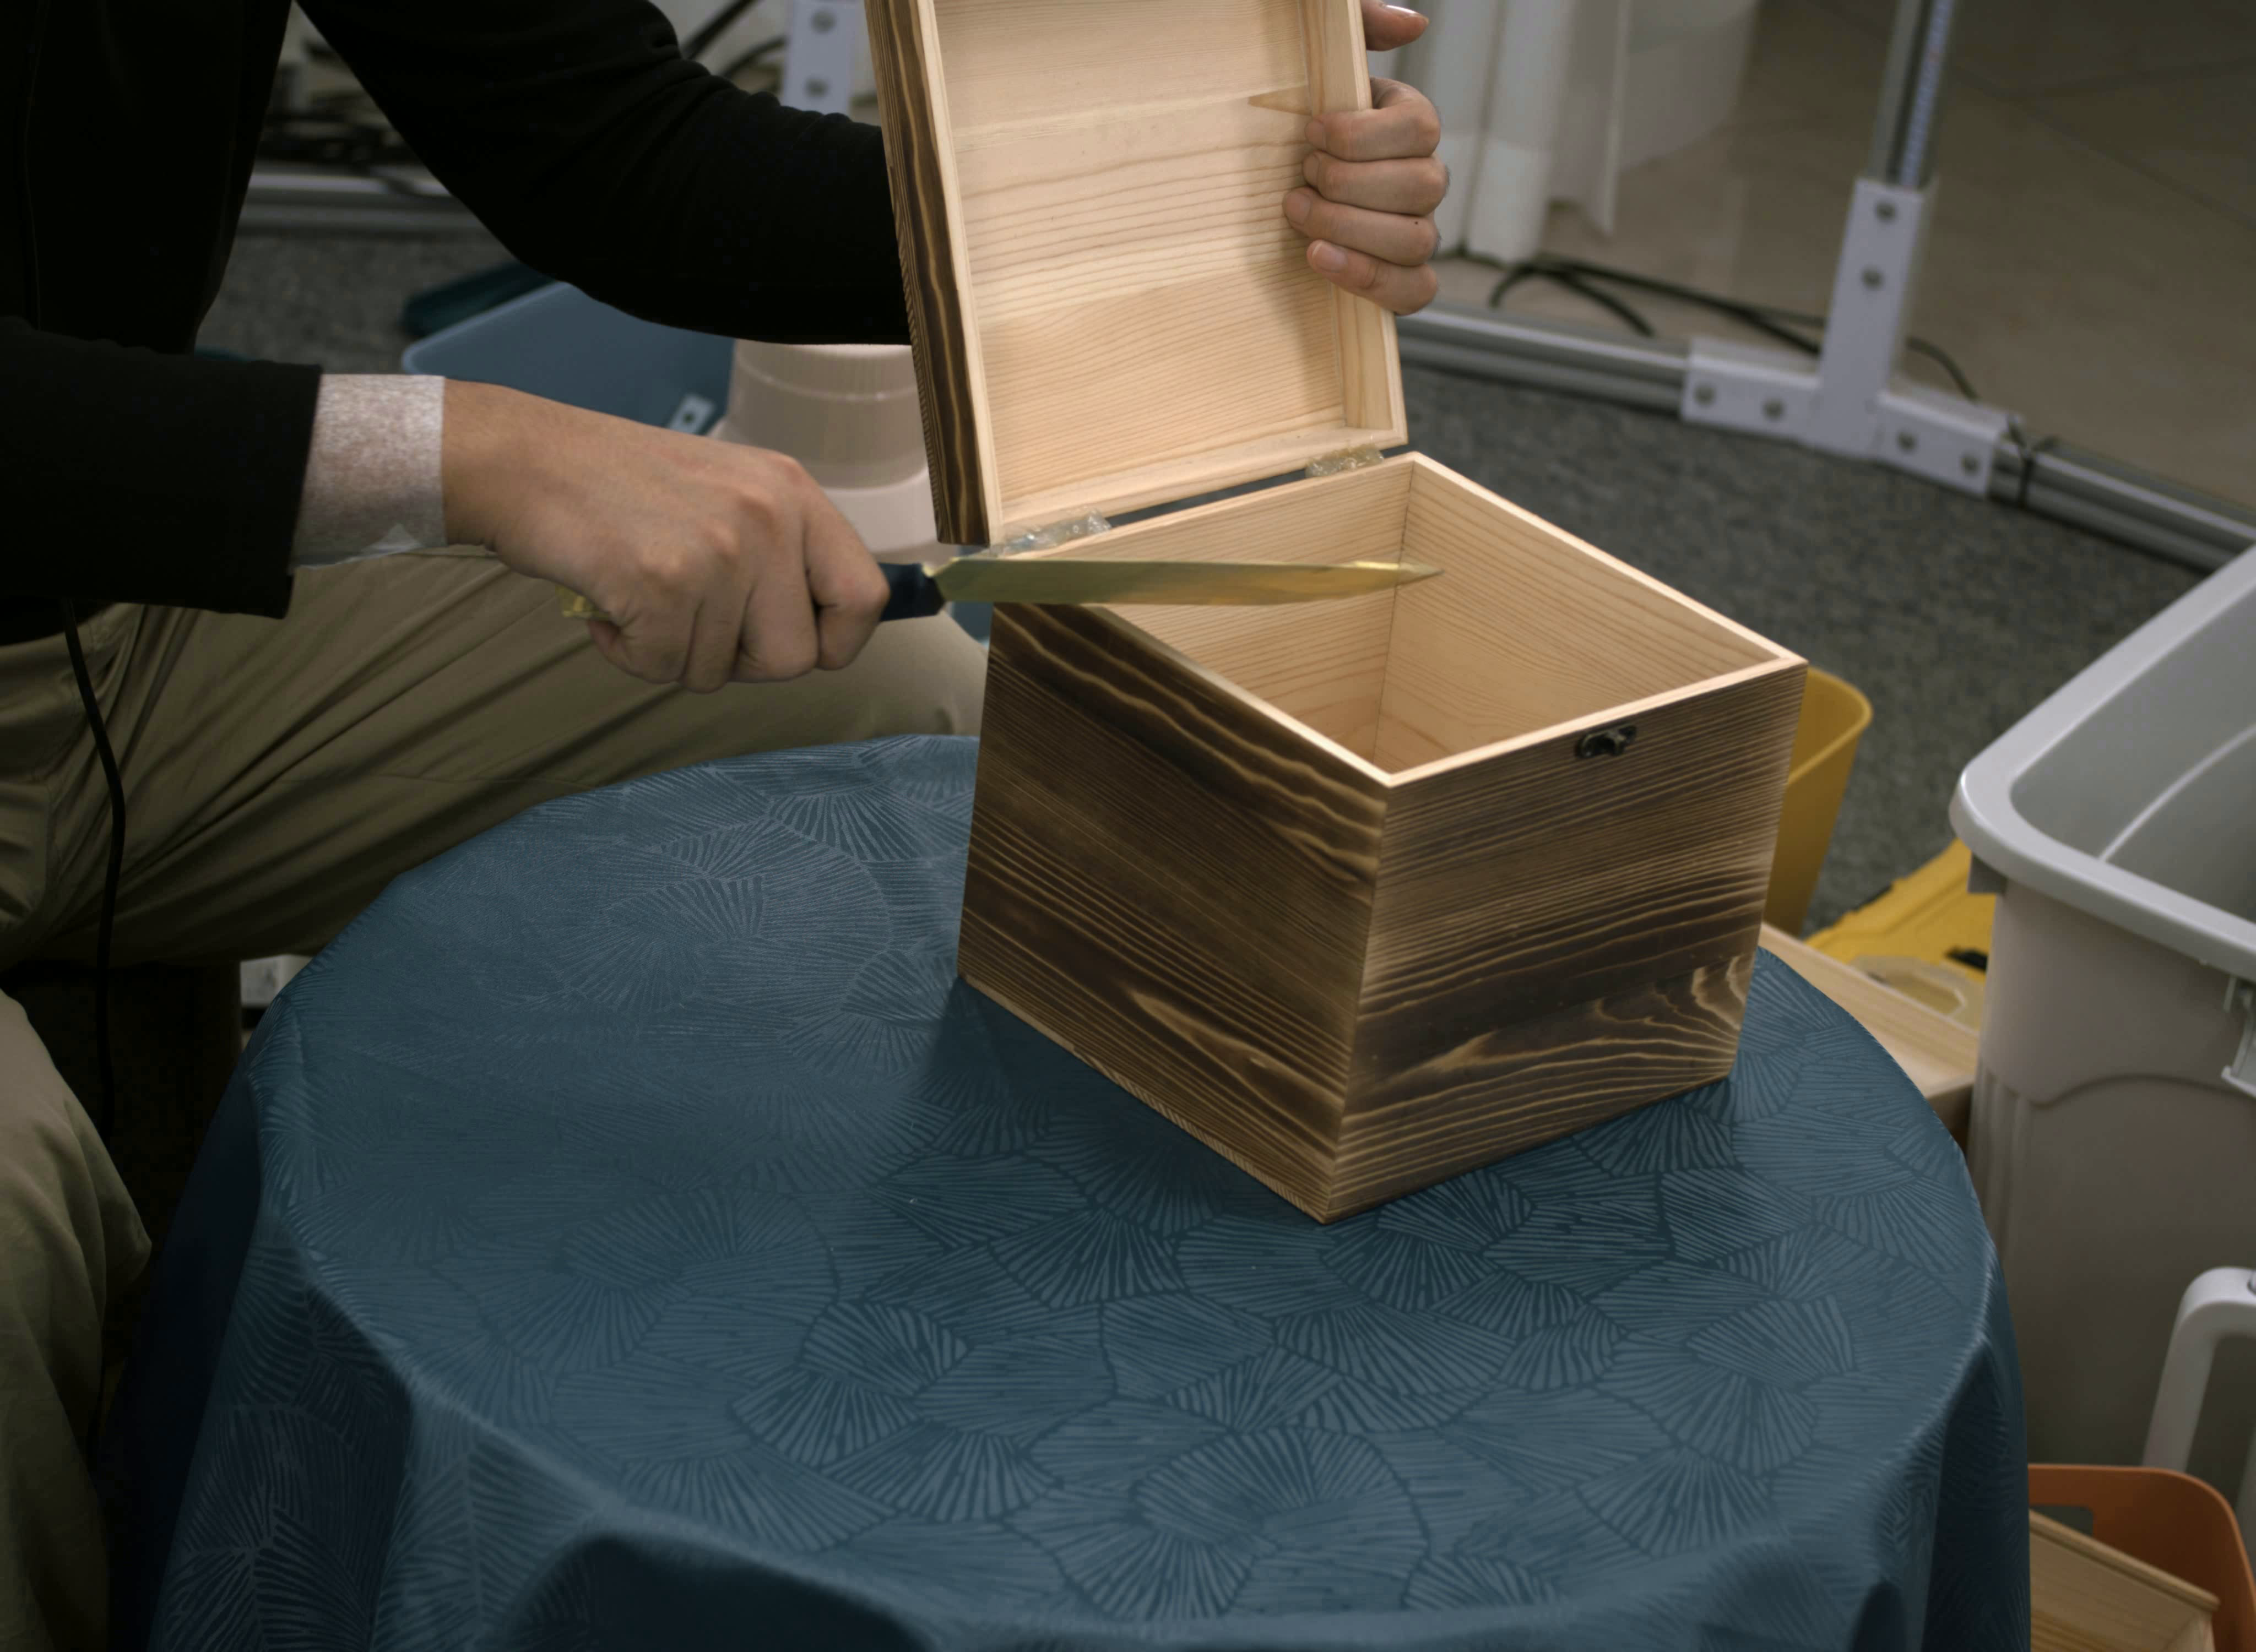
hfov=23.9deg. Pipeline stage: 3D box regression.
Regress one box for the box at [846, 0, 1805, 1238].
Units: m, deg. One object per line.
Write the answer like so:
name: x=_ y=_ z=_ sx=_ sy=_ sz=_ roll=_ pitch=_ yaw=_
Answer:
box: x=0.060 y=-0.105 z=1.872 sx=0.207 sy=0.374 sz=0.325 roll=-17 pitch=34 yaw=-38

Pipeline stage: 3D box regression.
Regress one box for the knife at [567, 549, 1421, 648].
knife: x=-0.042 y=-0.080 z=1.779 sx=0.288 sy=0.027 sz=0.081 roll=-3 pitch=-11 yaw=-11
